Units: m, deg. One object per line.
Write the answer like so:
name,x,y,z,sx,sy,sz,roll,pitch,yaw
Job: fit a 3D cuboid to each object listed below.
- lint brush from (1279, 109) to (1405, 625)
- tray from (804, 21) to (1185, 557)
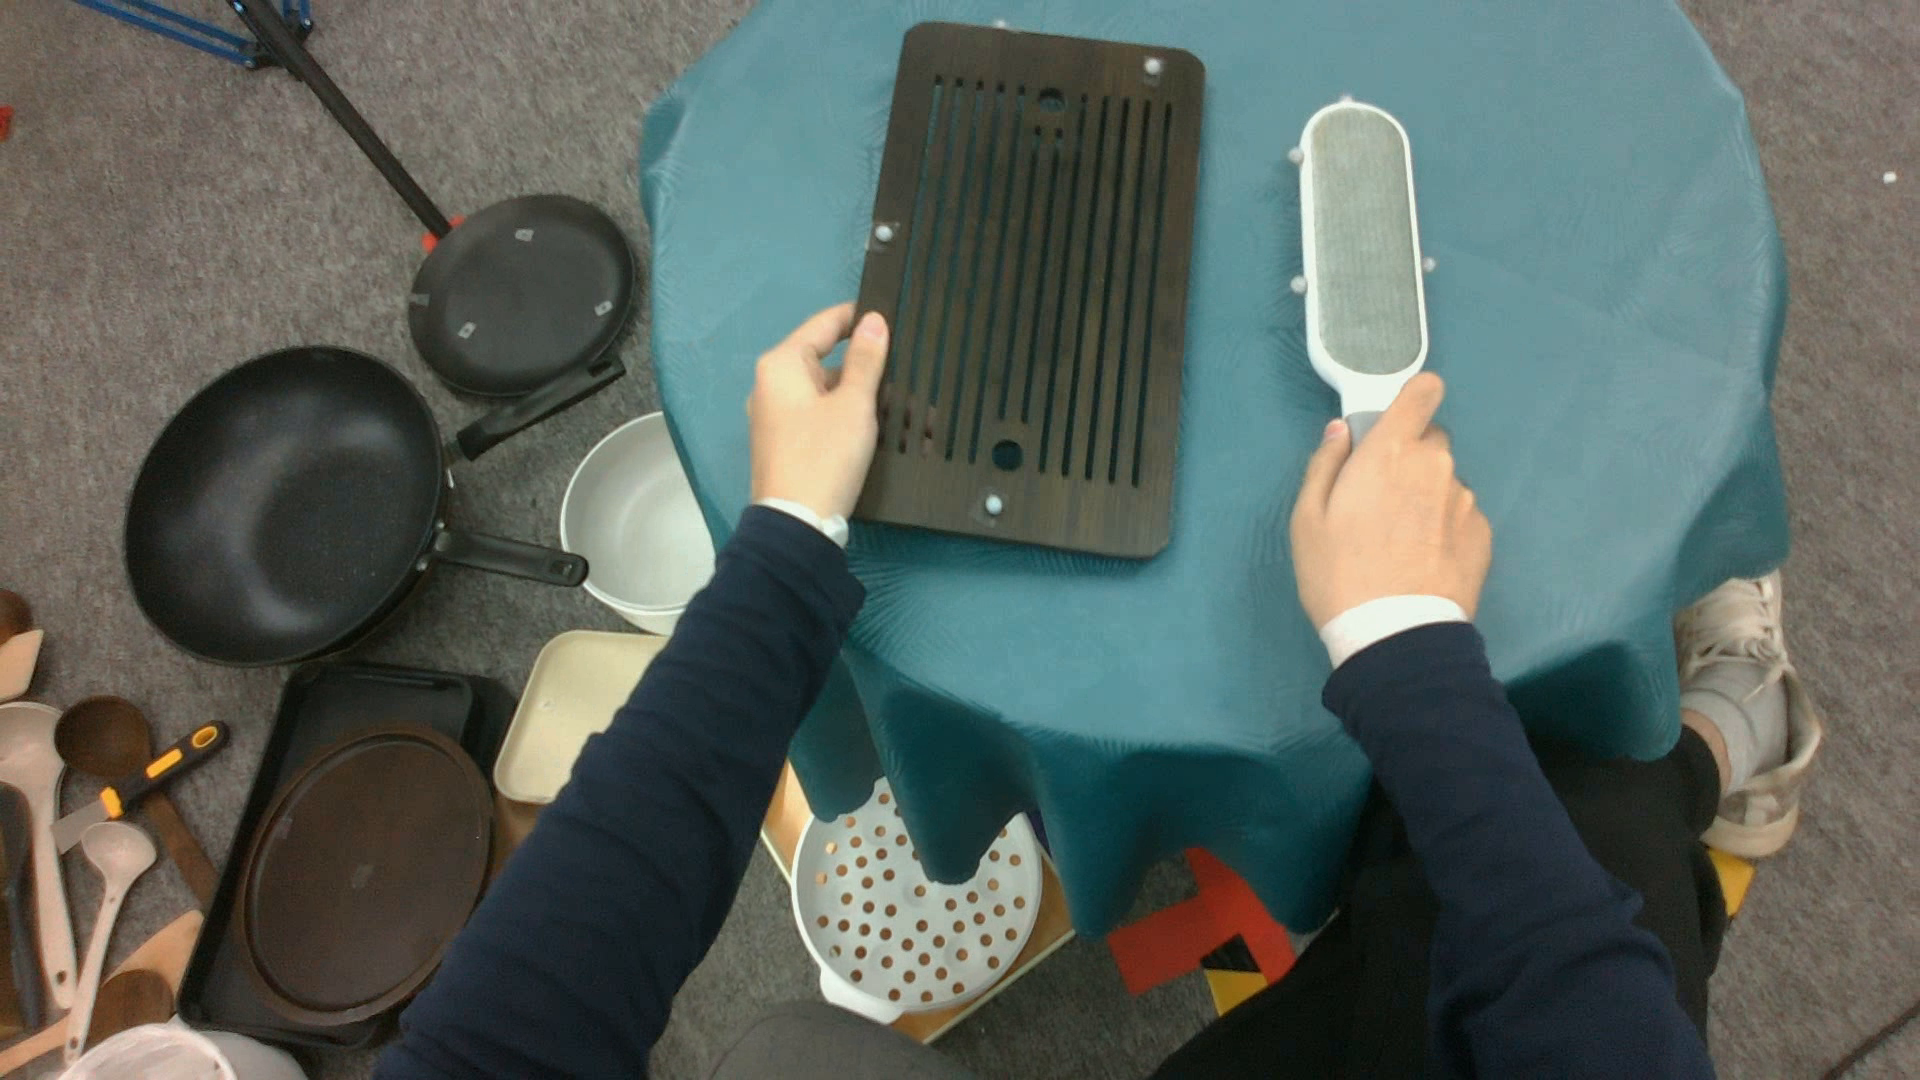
lint brush,0.190,-0.099,0.683,0.060,0.021,0.310,4,61,1
tray,0.025,-0.141,0.724,0.170,0.018,0.307,8,68,0
